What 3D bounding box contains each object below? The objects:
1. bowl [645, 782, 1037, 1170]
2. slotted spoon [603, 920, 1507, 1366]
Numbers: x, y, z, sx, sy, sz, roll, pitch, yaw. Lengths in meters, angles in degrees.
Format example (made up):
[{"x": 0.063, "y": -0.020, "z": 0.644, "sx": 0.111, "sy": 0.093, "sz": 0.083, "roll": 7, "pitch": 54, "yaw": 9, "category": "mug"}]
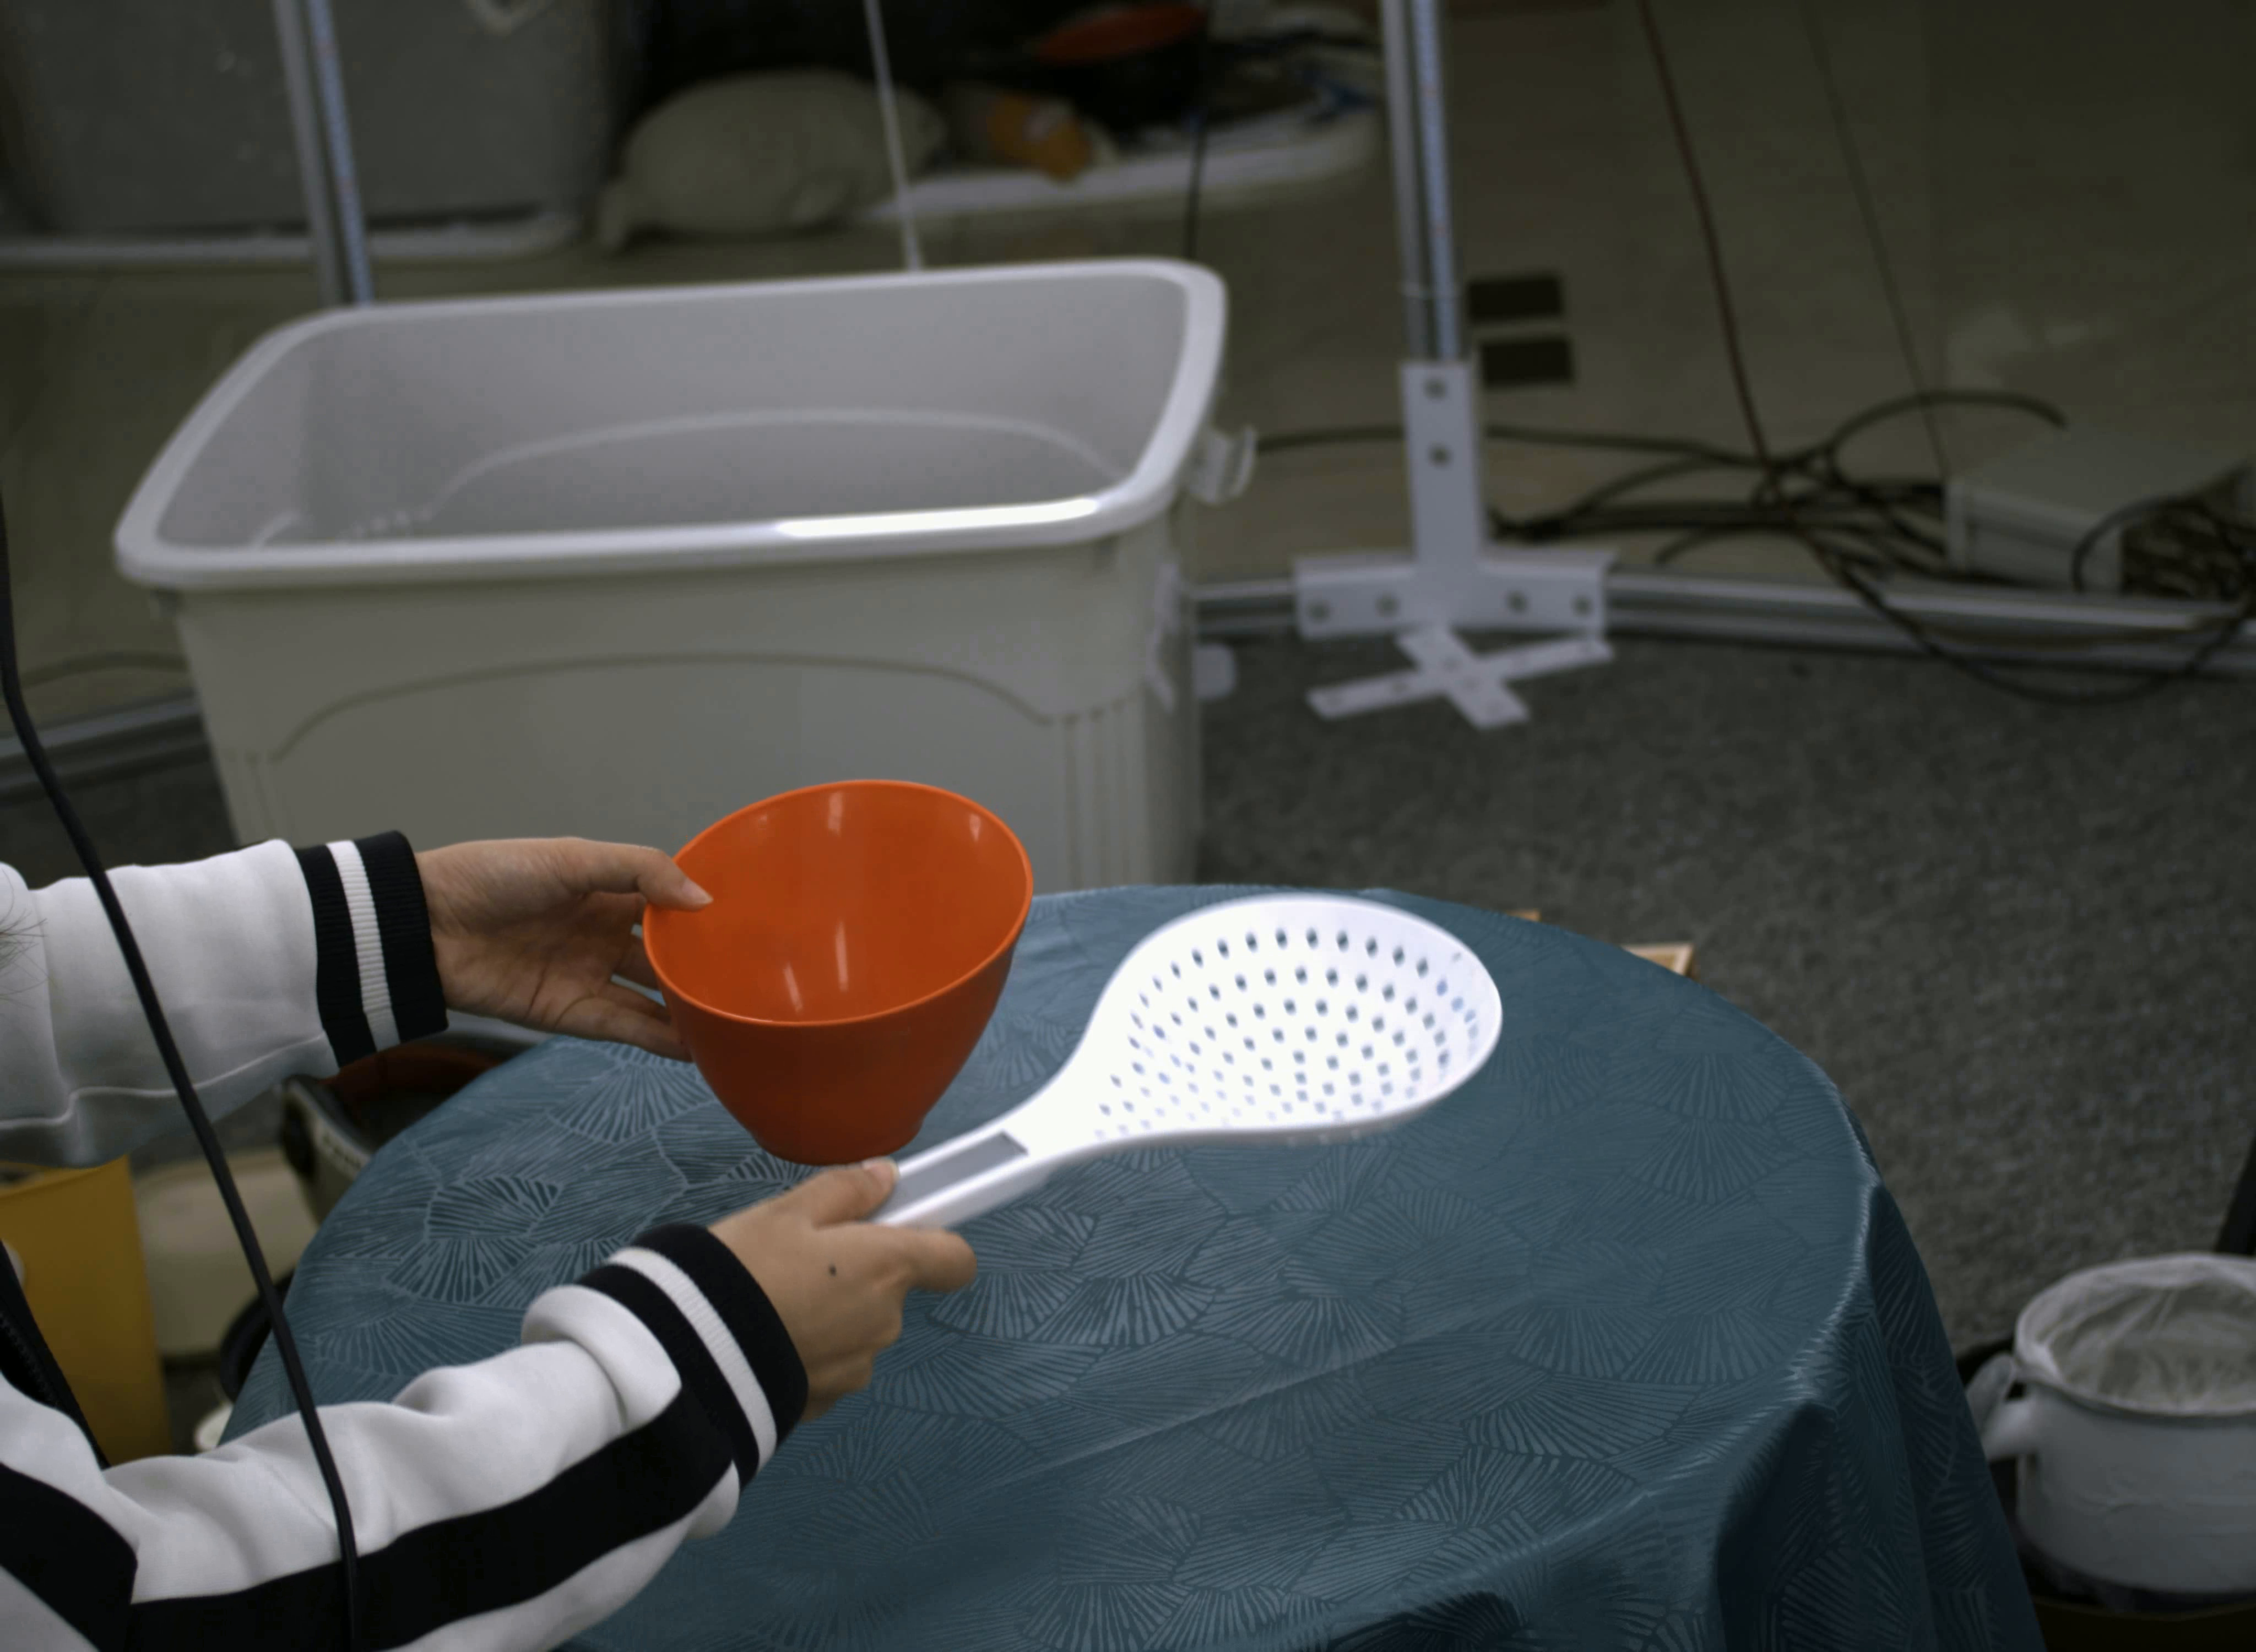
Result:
[{"x": -0.108, "y": 0.064, "z": 2.145, "sx": 0.148, "sy": 0.106, "sz": 0.145, "roll": 0, "pitch": 31, "yaw": 0, "category": "bowl"}, {"x": -0.024, "y": 0.110, "z": 1.912, "sx": 0.348, "sy": 0.046, "sz": 0.134, "roll": -17, "pitch": 36, "yaw": -33, "category": "slotted spoon"}]
